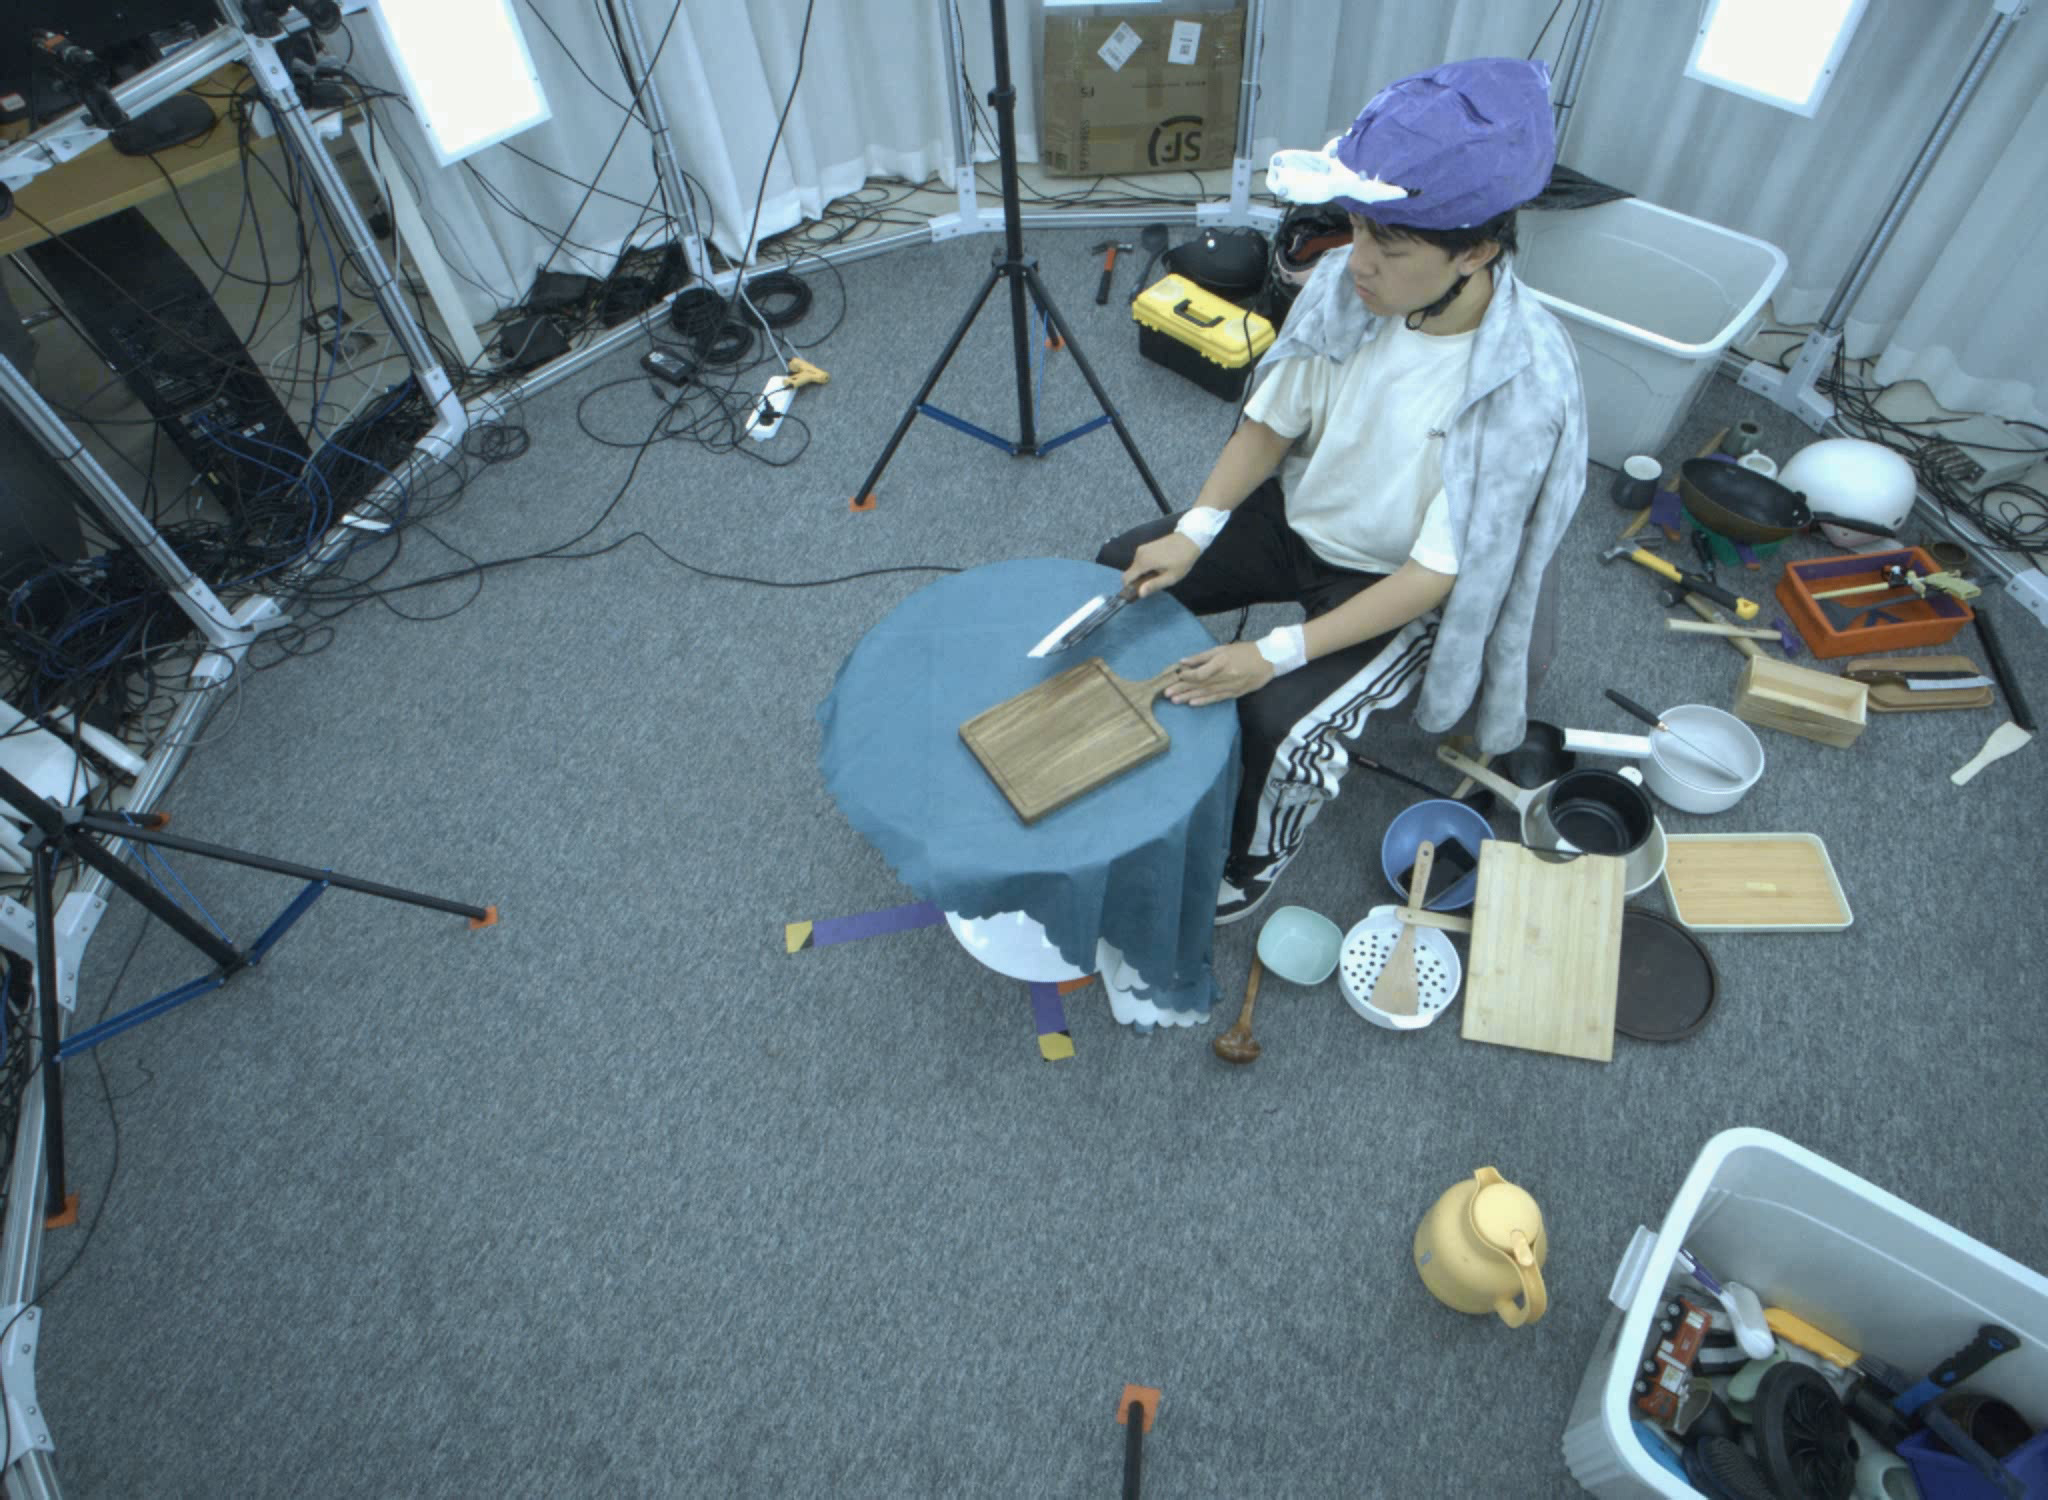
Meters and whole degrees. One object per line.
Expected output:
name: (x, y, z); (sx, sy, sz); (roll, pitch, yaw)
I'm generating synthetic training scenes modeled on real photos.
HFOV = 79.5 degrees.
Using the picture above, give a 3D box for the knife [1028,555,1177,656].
knife: (0.122, -0.222, 1.884); (0.066, 0.024, 0.302); (19, 49, 44)

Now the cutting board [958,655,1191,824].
cutting board: (0.100, -0.043, 1.804); (0.355, 0.023, 0.197); (-28, 59, -17)
